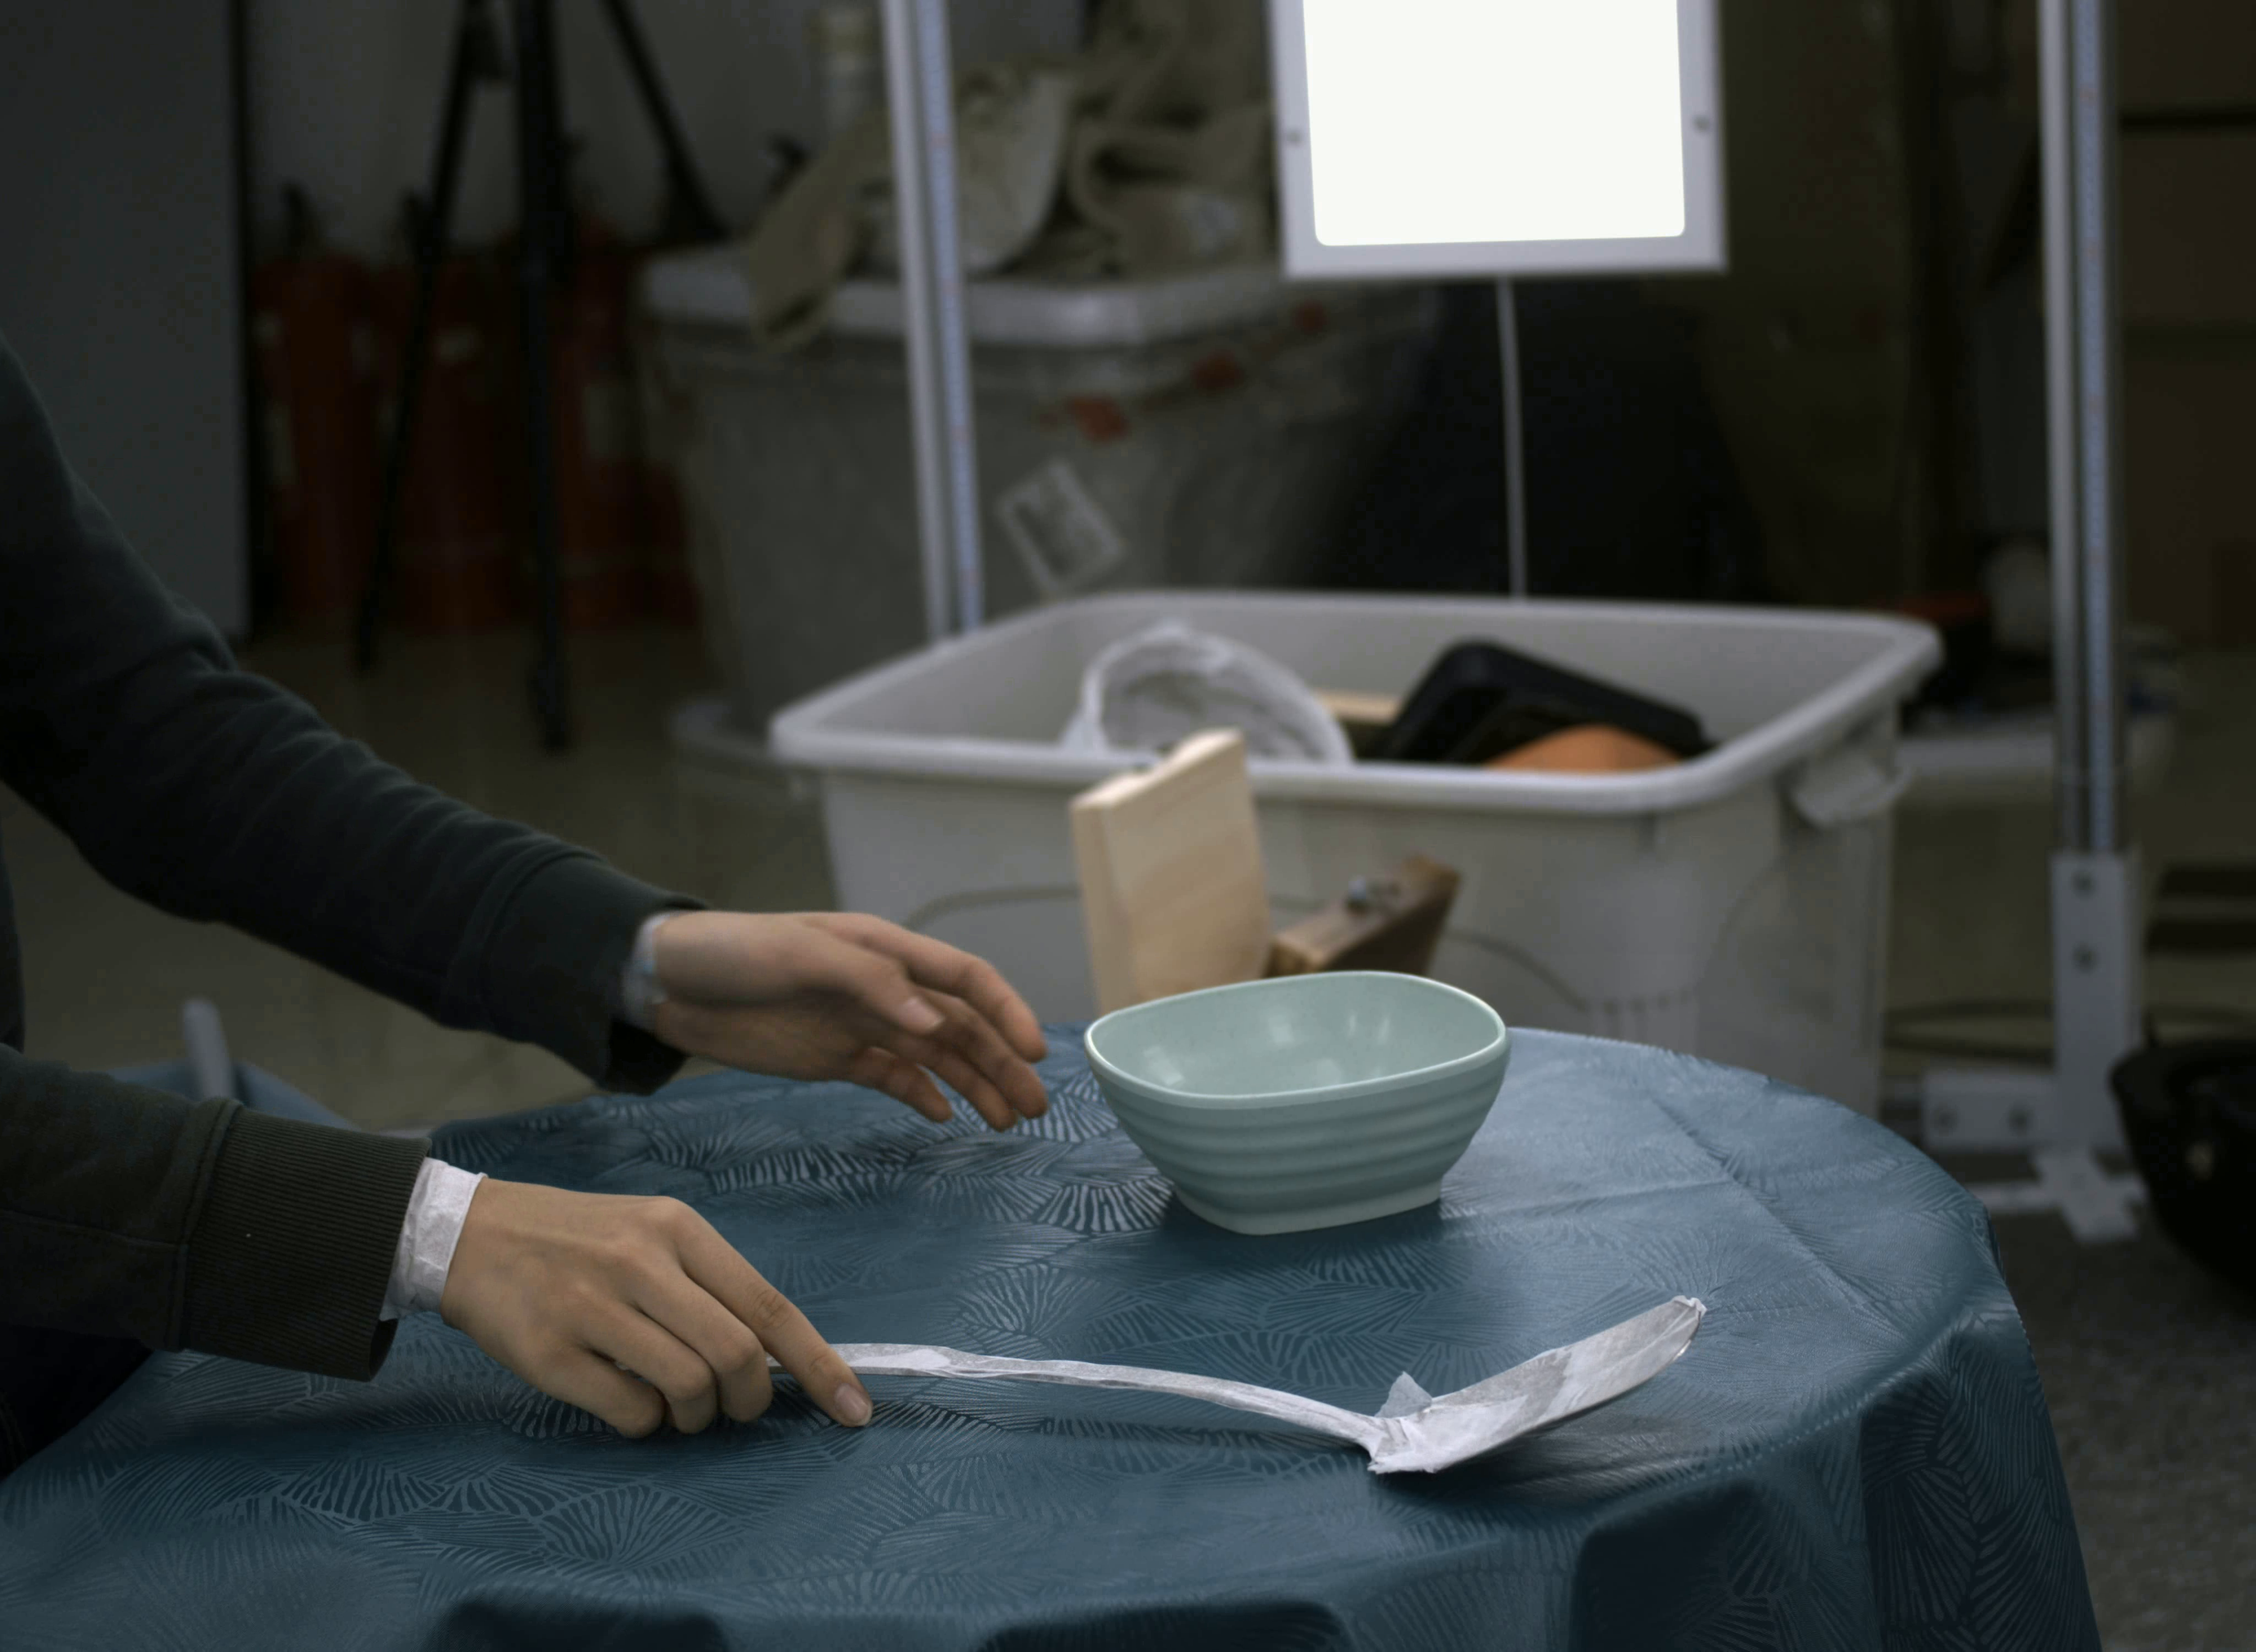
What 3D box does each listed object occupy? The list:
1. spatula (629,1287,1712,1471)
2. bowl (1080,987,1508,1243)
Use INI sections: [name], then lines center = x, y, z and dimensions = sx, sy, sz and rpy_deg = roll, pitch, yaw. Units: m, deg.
[spatula]
center = 0.000, 0.162, 1.670
dimensions = 0.371, 0.045, 0.096
rpy_deg = 2, 18, 26
[bowl]
center = 0.057, 0.101, 1.875
dimensions = 0.151, 0.059, 0.151
rpy_deg = -4, 13, -1
